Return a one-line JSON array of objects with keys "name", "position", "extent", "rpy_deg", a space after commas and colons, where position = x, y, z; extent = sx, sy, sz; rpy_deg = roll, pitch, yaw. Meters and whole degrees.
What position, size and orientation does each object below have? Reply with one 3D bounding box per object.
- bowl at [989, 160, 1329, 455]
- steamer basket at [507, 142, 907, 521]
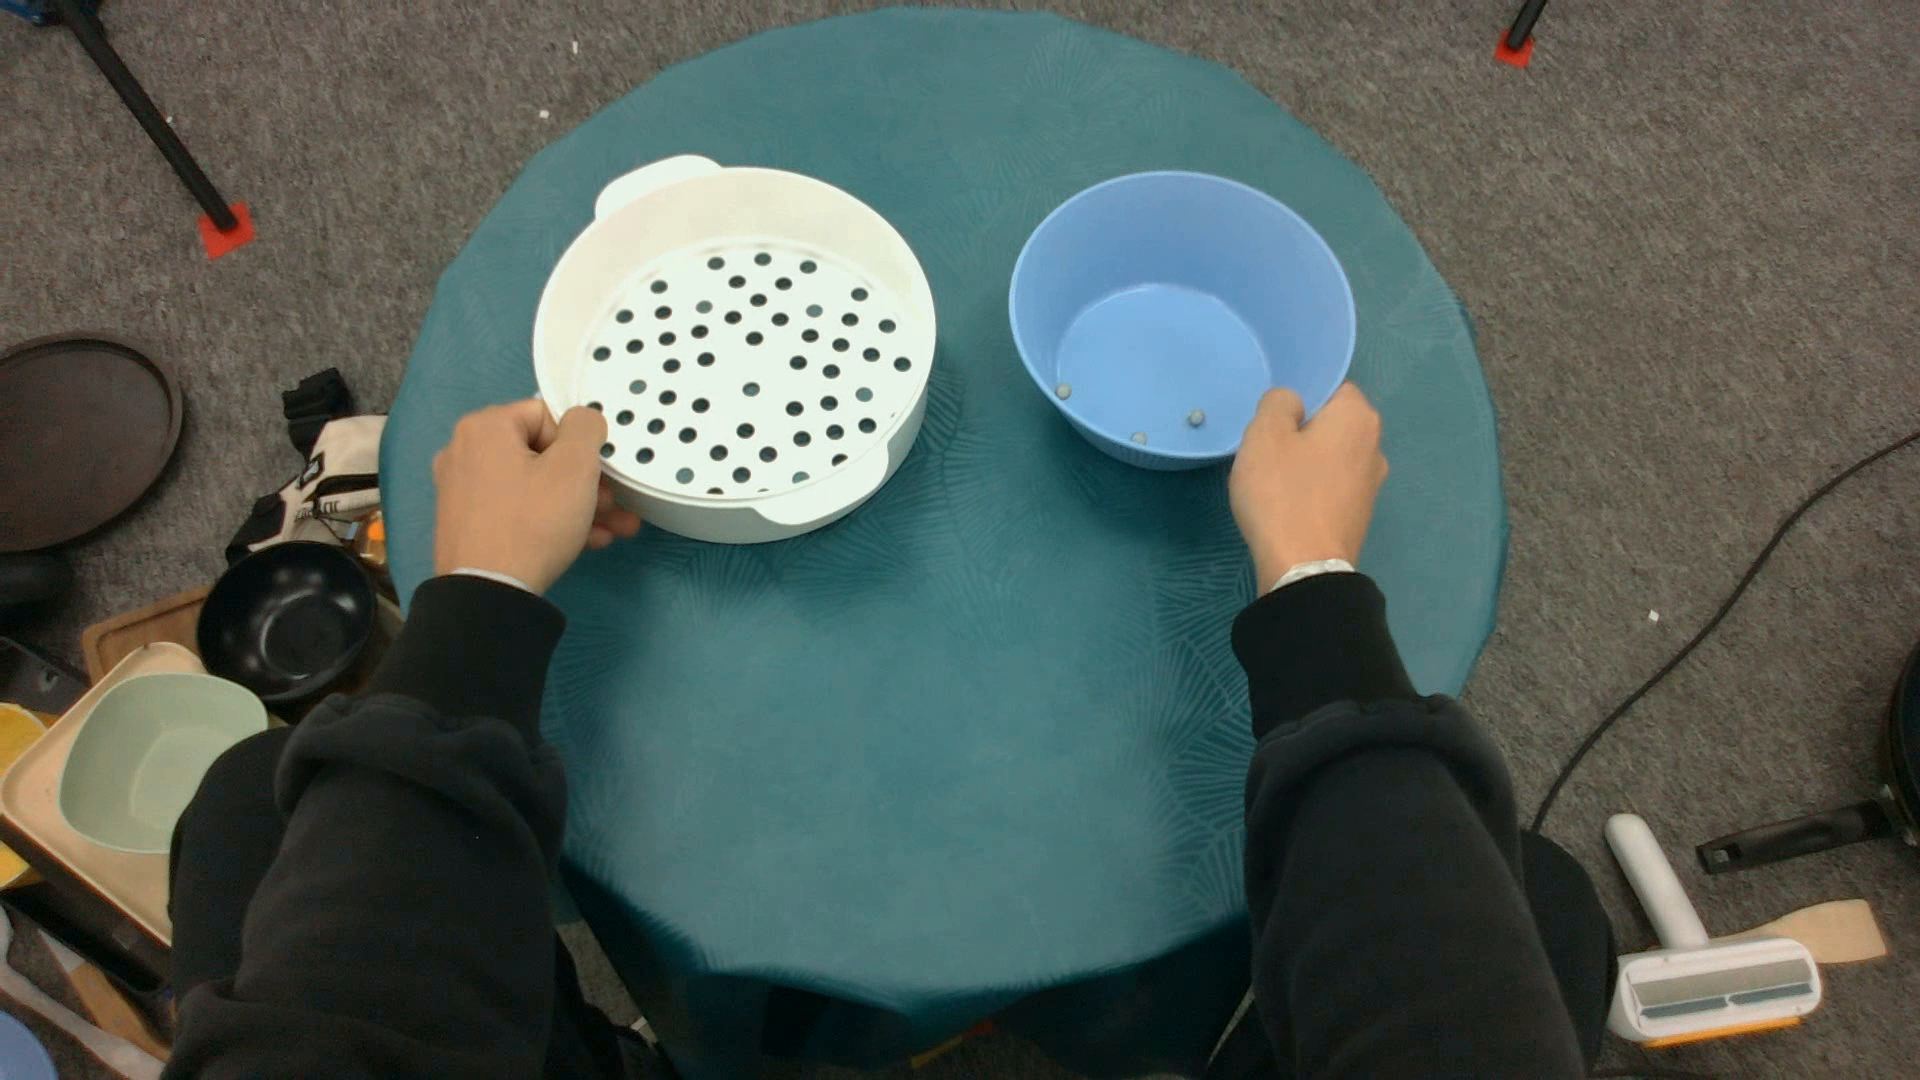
[{"name": "bowl", "position": [0.102, -0.112, 0.734], "extent": [0.176, 0.070, 0.176], "rpy_deg": [1, 65, -1]}, {"name": "steamer basket", "position": [-0.128, -0.106, 0.722], "extent": [0.202, 0.069, 0.231], "rpy_deg": [-27, 67, -14]}]
